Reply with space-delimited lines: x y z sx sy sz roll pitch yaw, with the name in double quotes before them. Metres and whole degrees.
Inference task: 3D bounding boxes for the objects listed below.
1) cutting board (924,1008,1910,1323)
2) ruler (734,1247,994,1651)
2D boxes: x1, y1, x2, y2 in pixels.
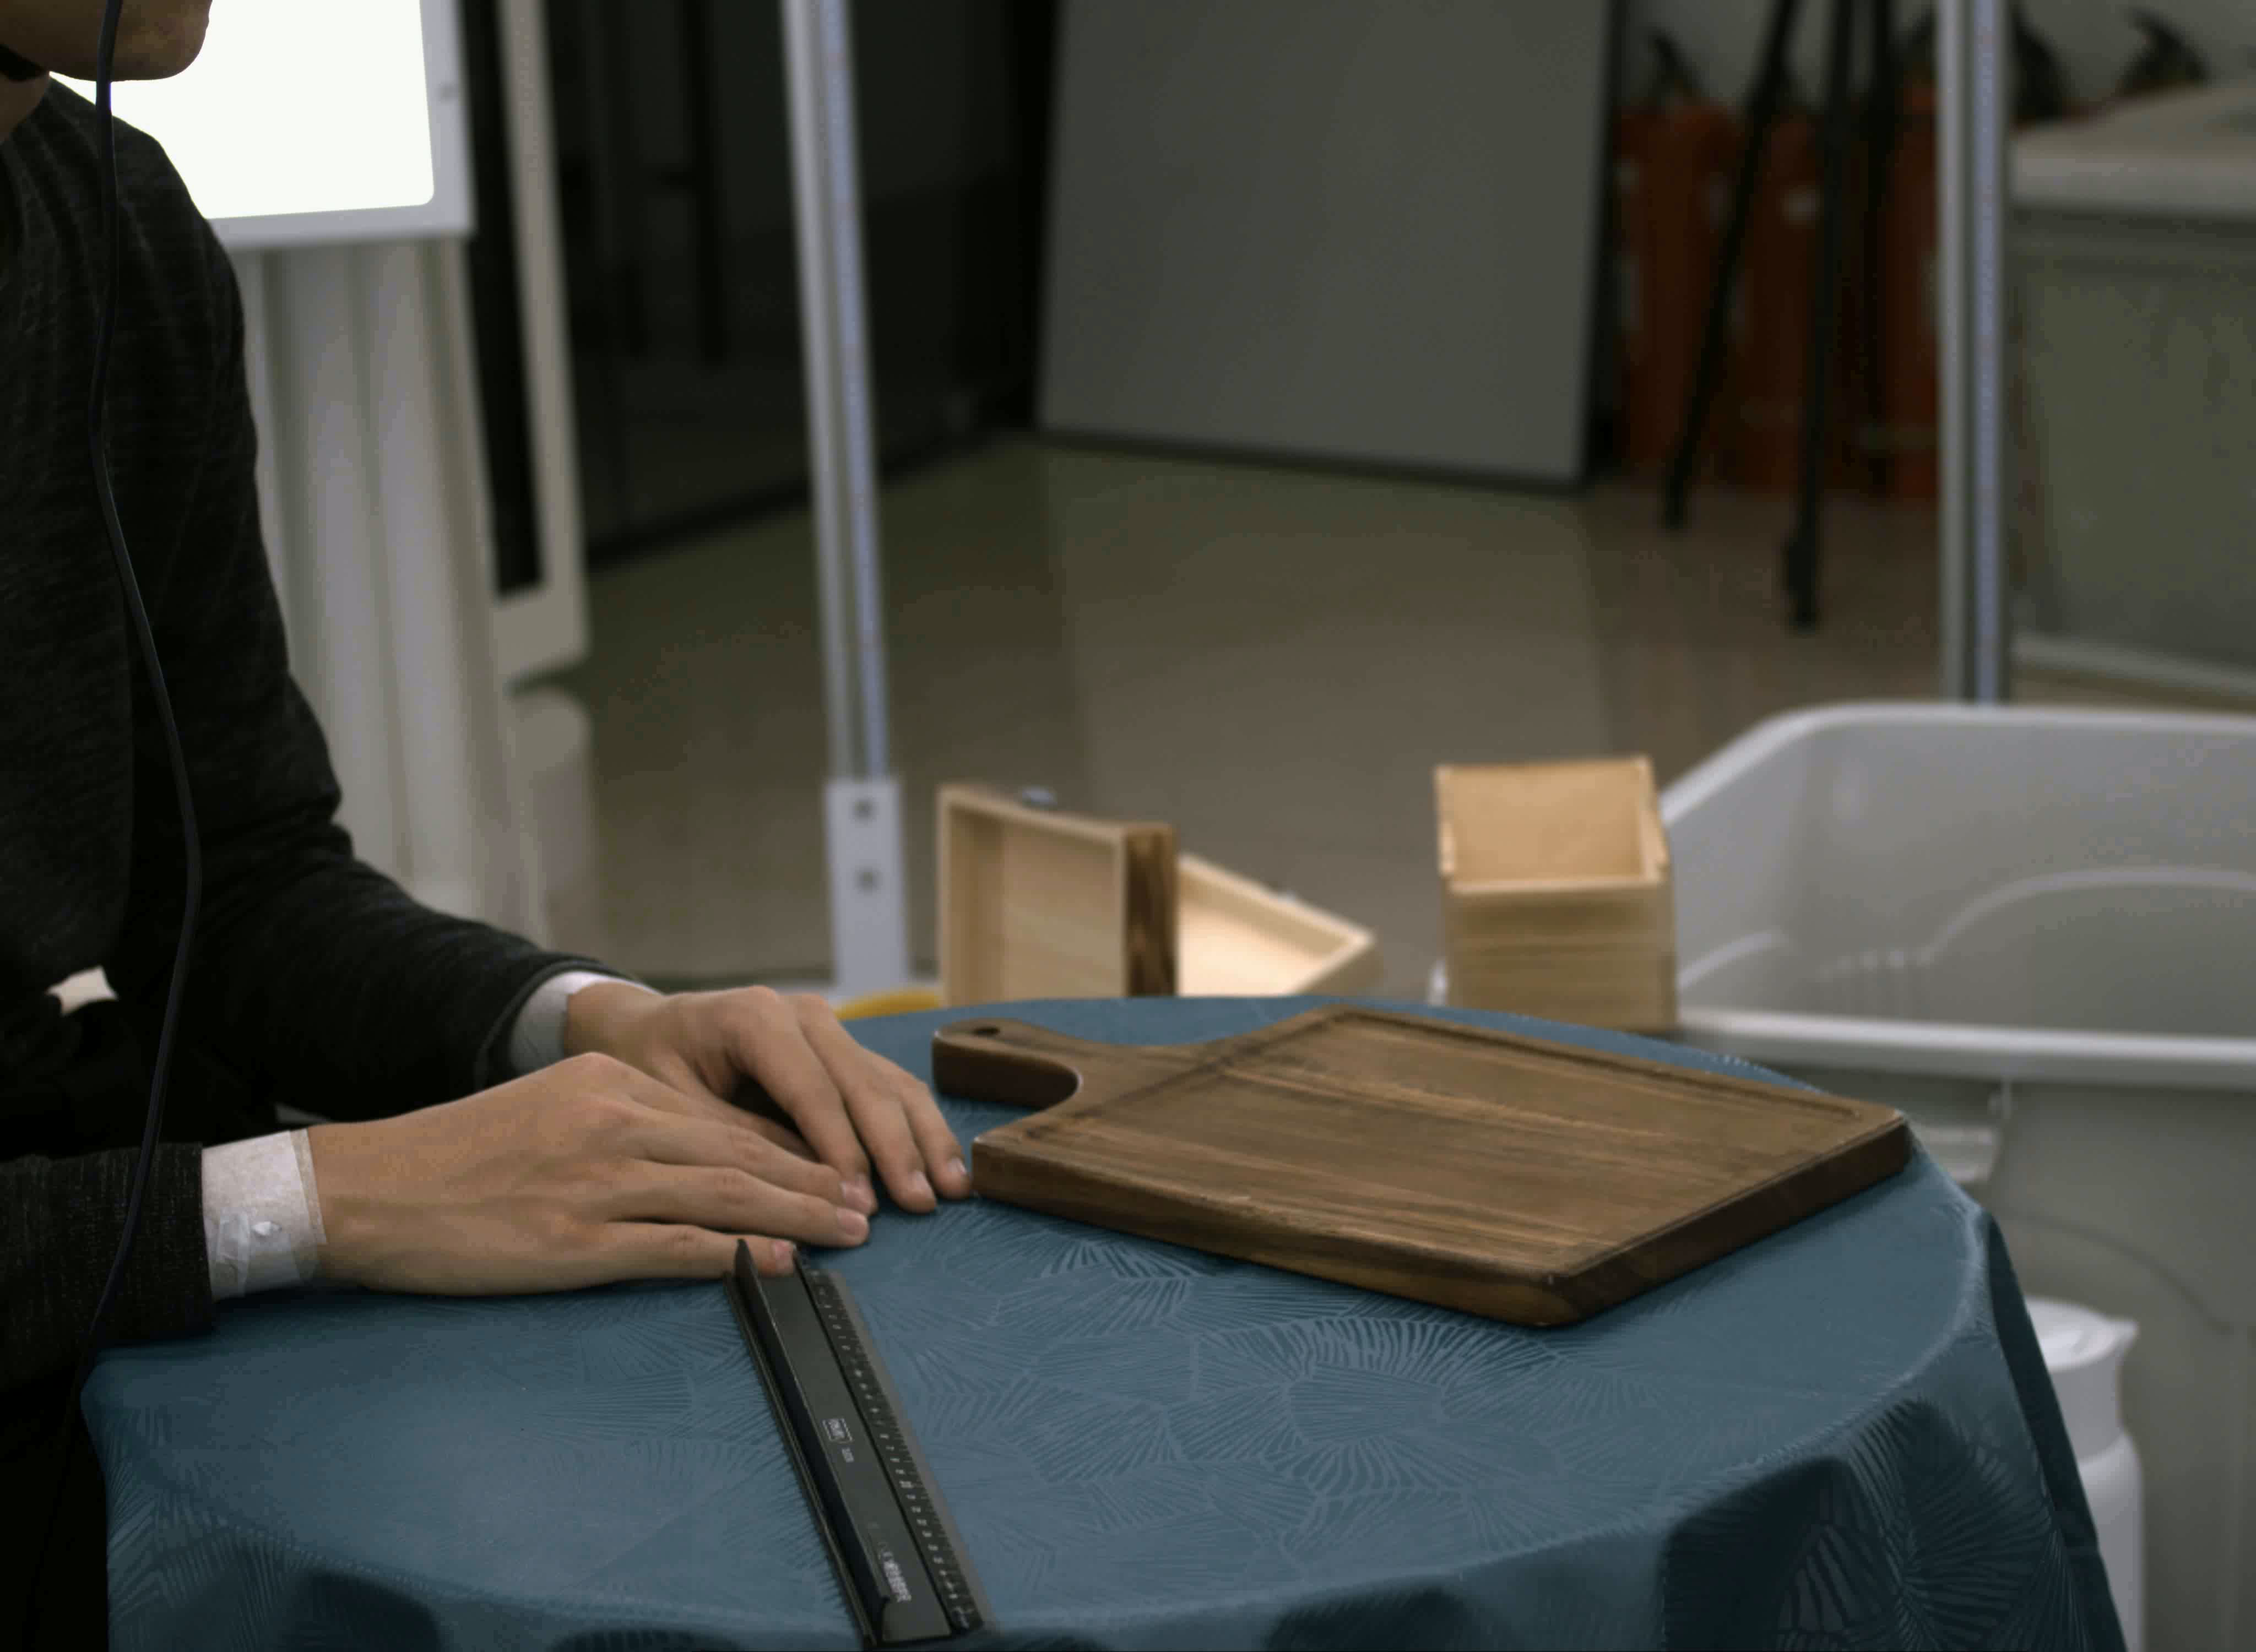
"cutting board" 0.065 0.101 1.788 0.355 0.023 0.197 8 18 43
"ruler" -0.079 0.172 1.554 0.038 0.017 0.314 -4 13 -10
